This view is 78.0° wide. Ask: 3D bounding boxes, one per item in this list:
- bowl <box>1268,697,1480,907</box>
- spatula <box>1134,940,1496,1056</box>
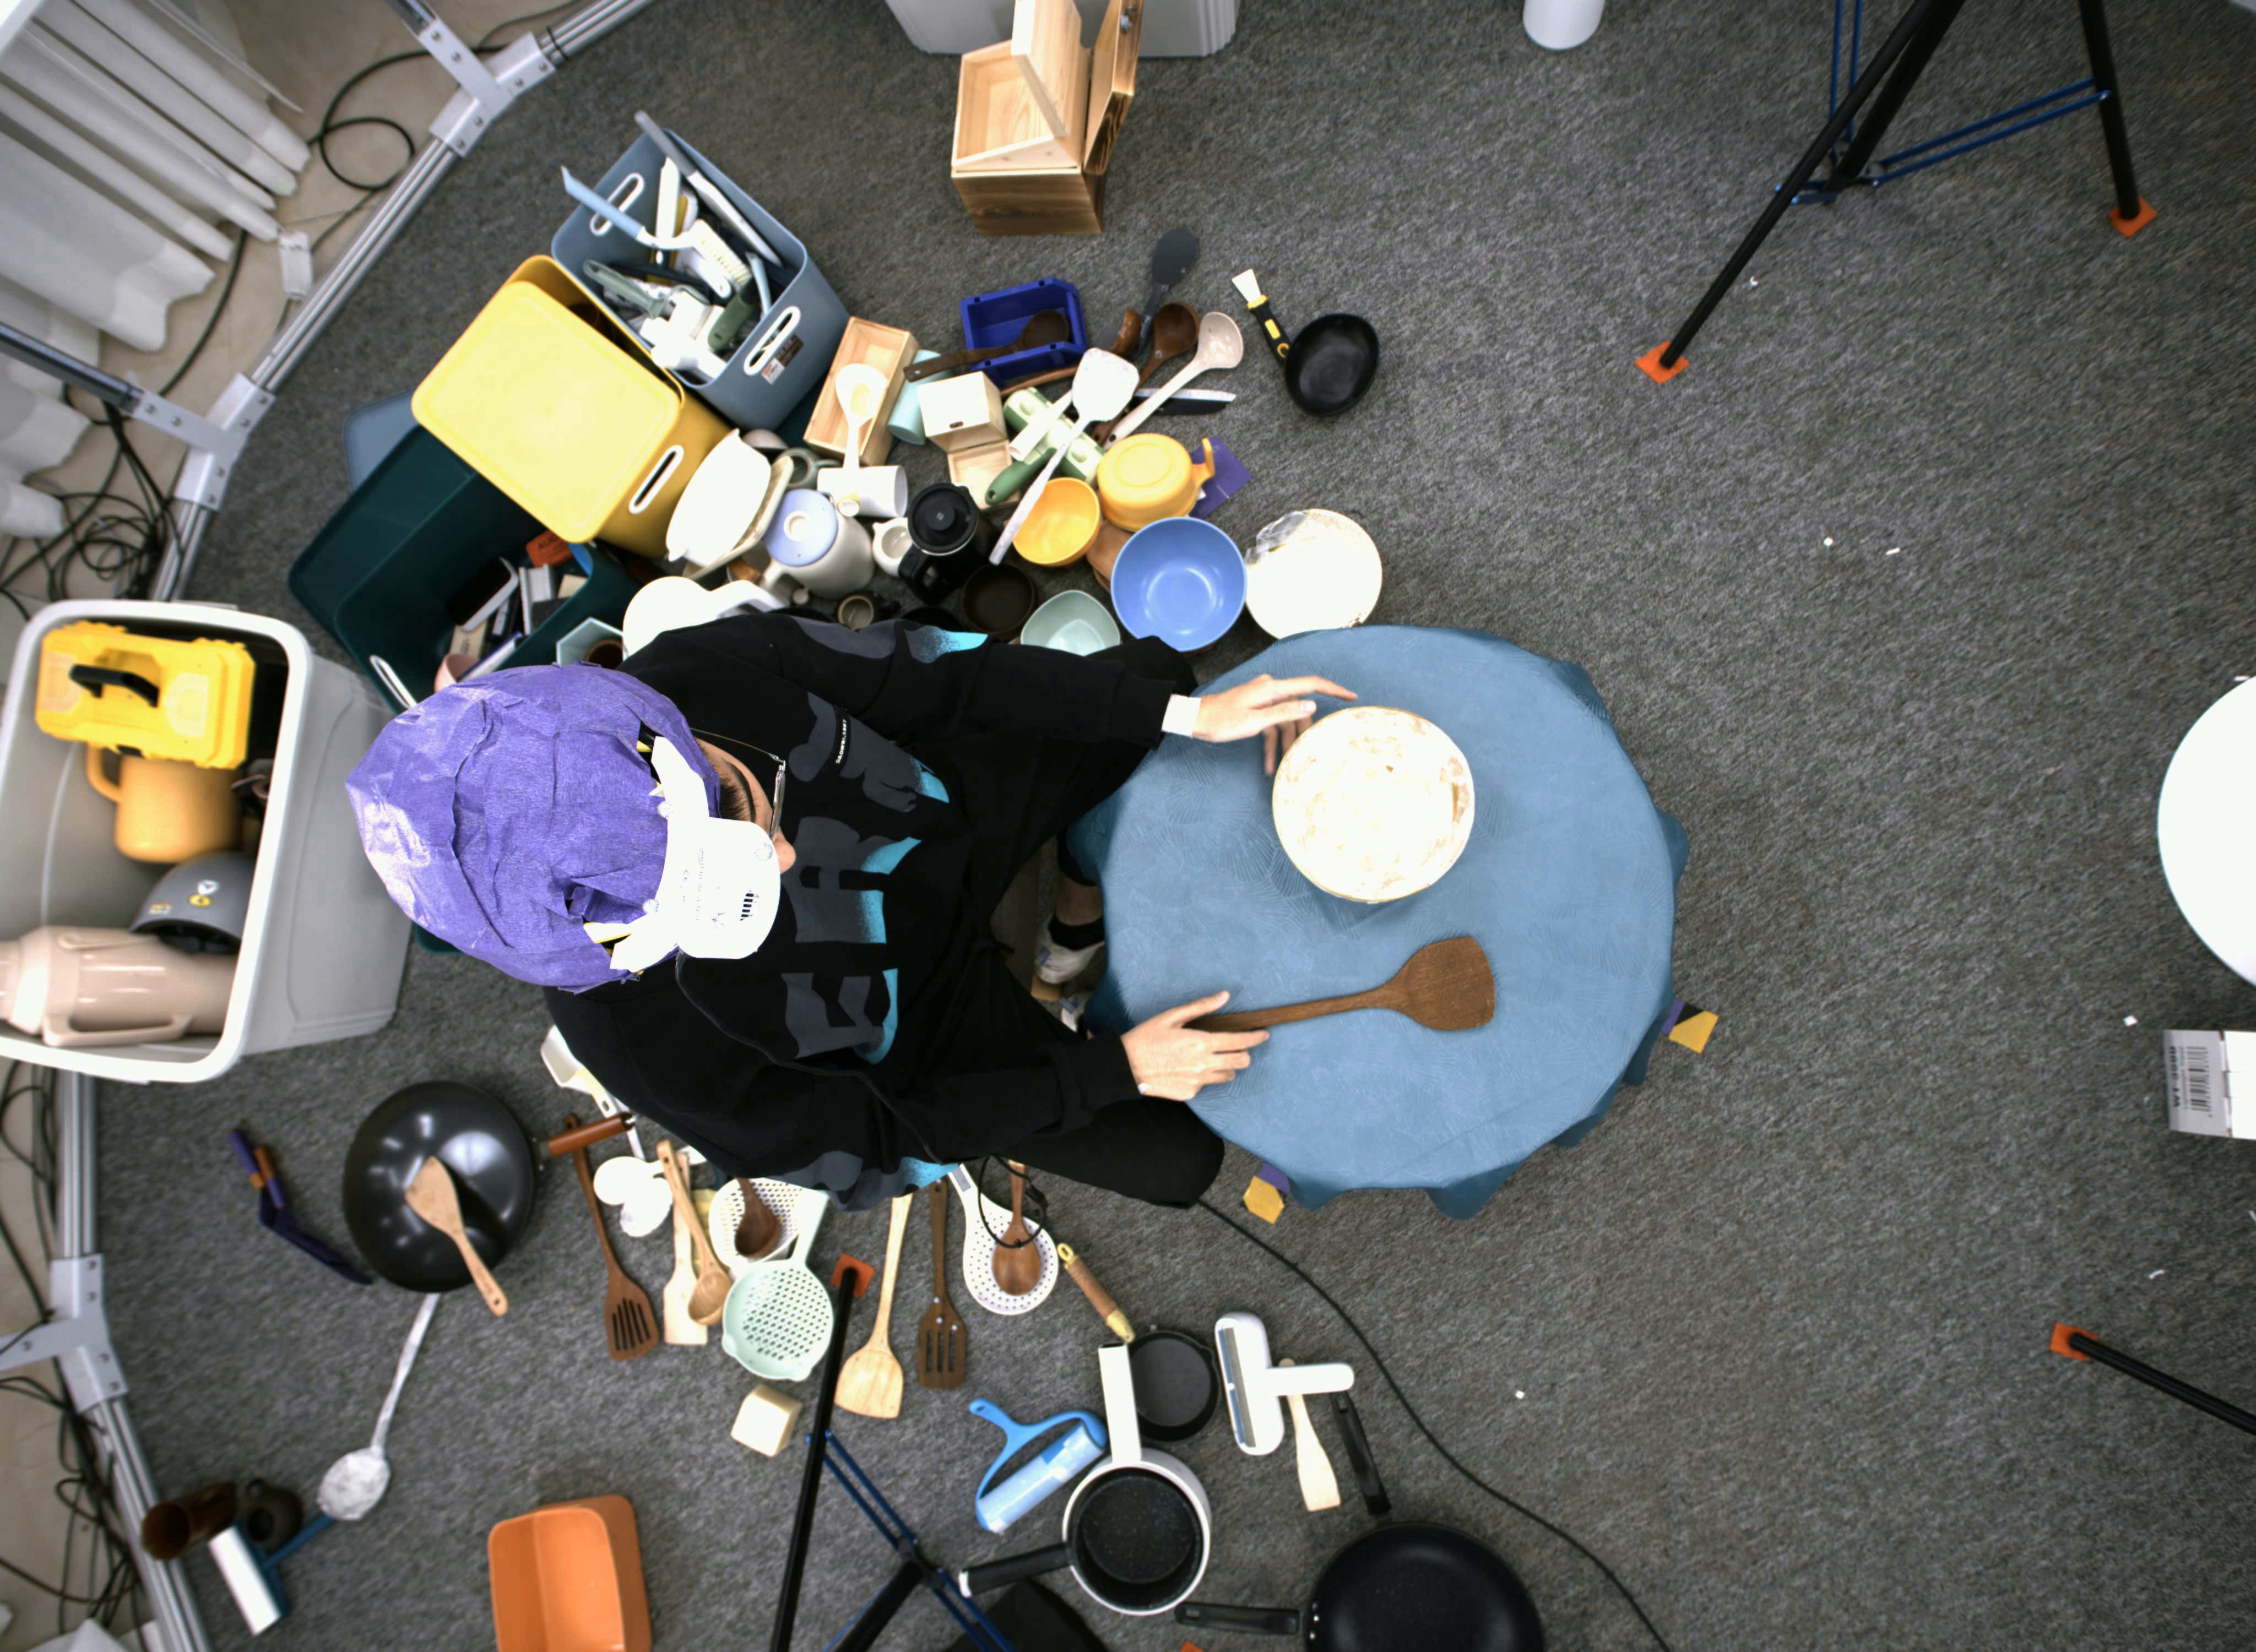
[{"bbox_3d":[0.253,-0.020,1.426,0.215,0.094,0.214,-1,87,11],"label":"bowl"},{"bbox_3d":[0.193,0.197,1.463,0.388,0.016,0.095,-12,84,9],"label":"spatula"}]
